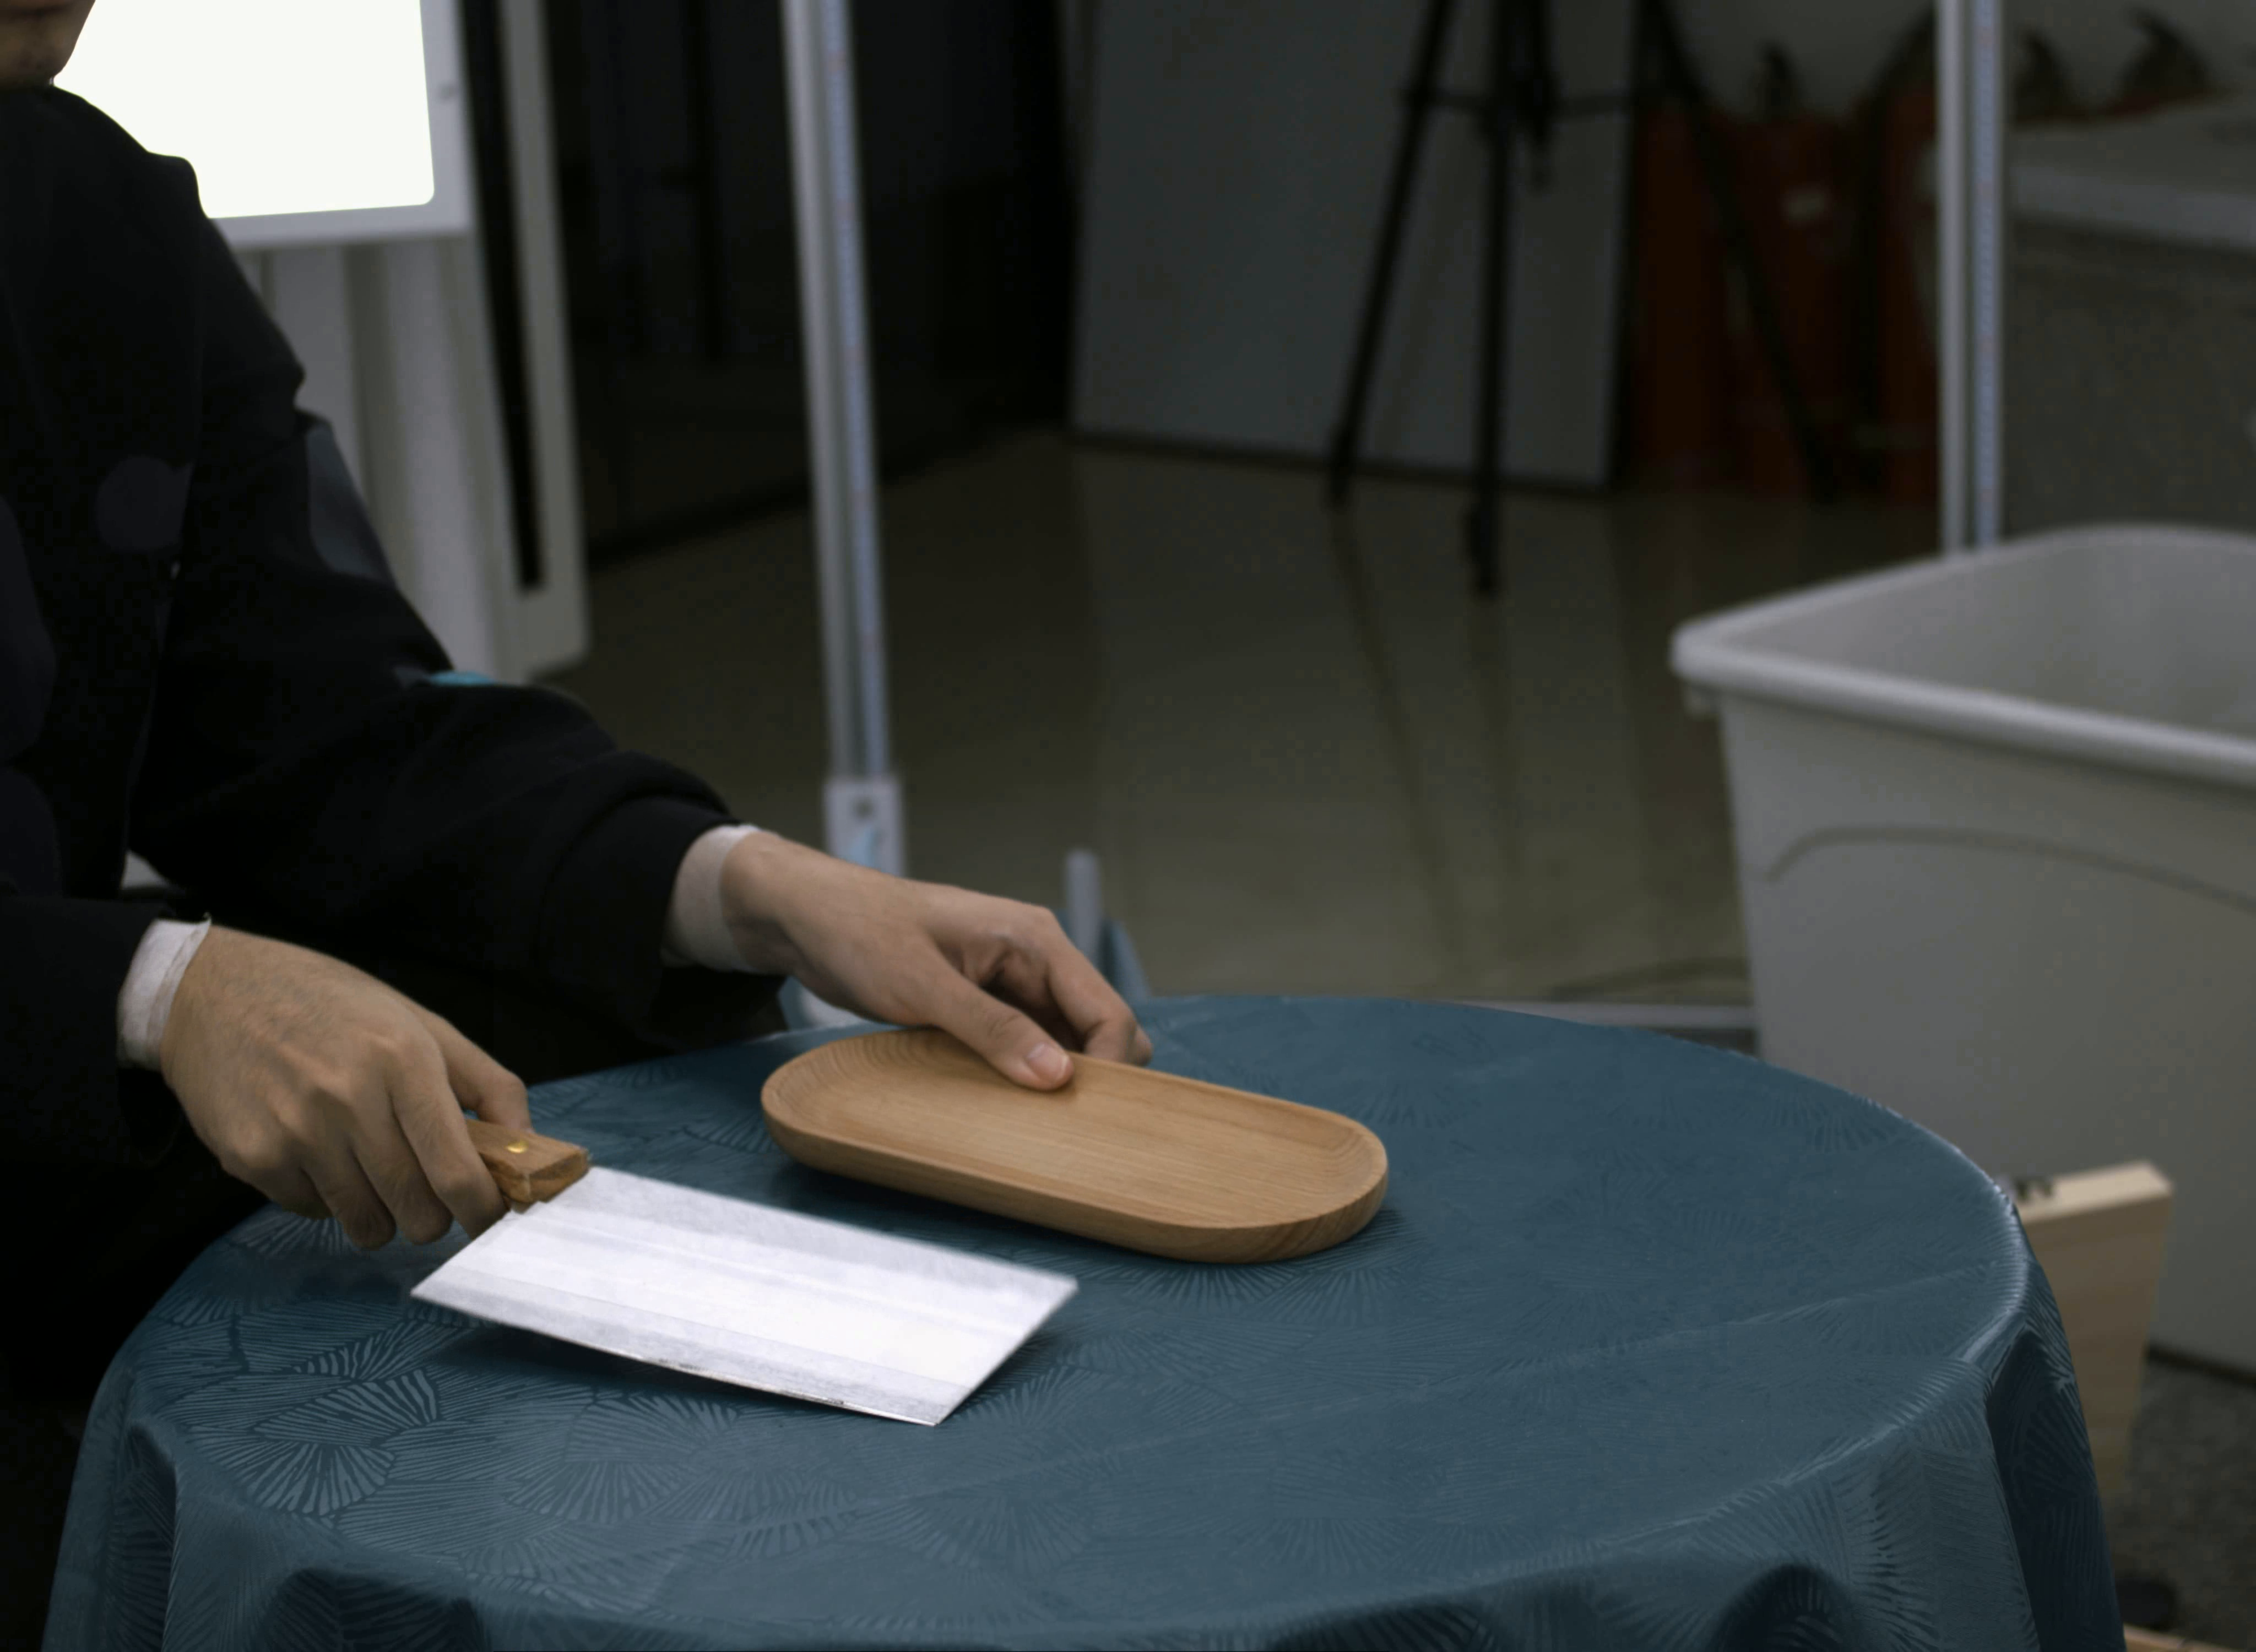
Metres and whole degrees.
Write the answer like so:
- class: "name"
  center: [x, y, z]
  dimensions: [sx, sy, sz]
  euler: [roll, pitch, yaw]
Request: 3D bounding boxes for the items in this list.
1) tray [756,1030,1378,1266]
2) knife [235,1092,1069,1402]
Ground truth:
- class: "tray"
  center: [-0.022, 0.105, 1.772]
  dimensions: [0.232, 0.020, 0.100]
  euler: [10, 23, 35]
- class: "knife"
  center: [-0.165, 0.133, 1.677]
  dimensions: [0.307, 0.021, 0.091]
  euler: [11, 27, 29]
